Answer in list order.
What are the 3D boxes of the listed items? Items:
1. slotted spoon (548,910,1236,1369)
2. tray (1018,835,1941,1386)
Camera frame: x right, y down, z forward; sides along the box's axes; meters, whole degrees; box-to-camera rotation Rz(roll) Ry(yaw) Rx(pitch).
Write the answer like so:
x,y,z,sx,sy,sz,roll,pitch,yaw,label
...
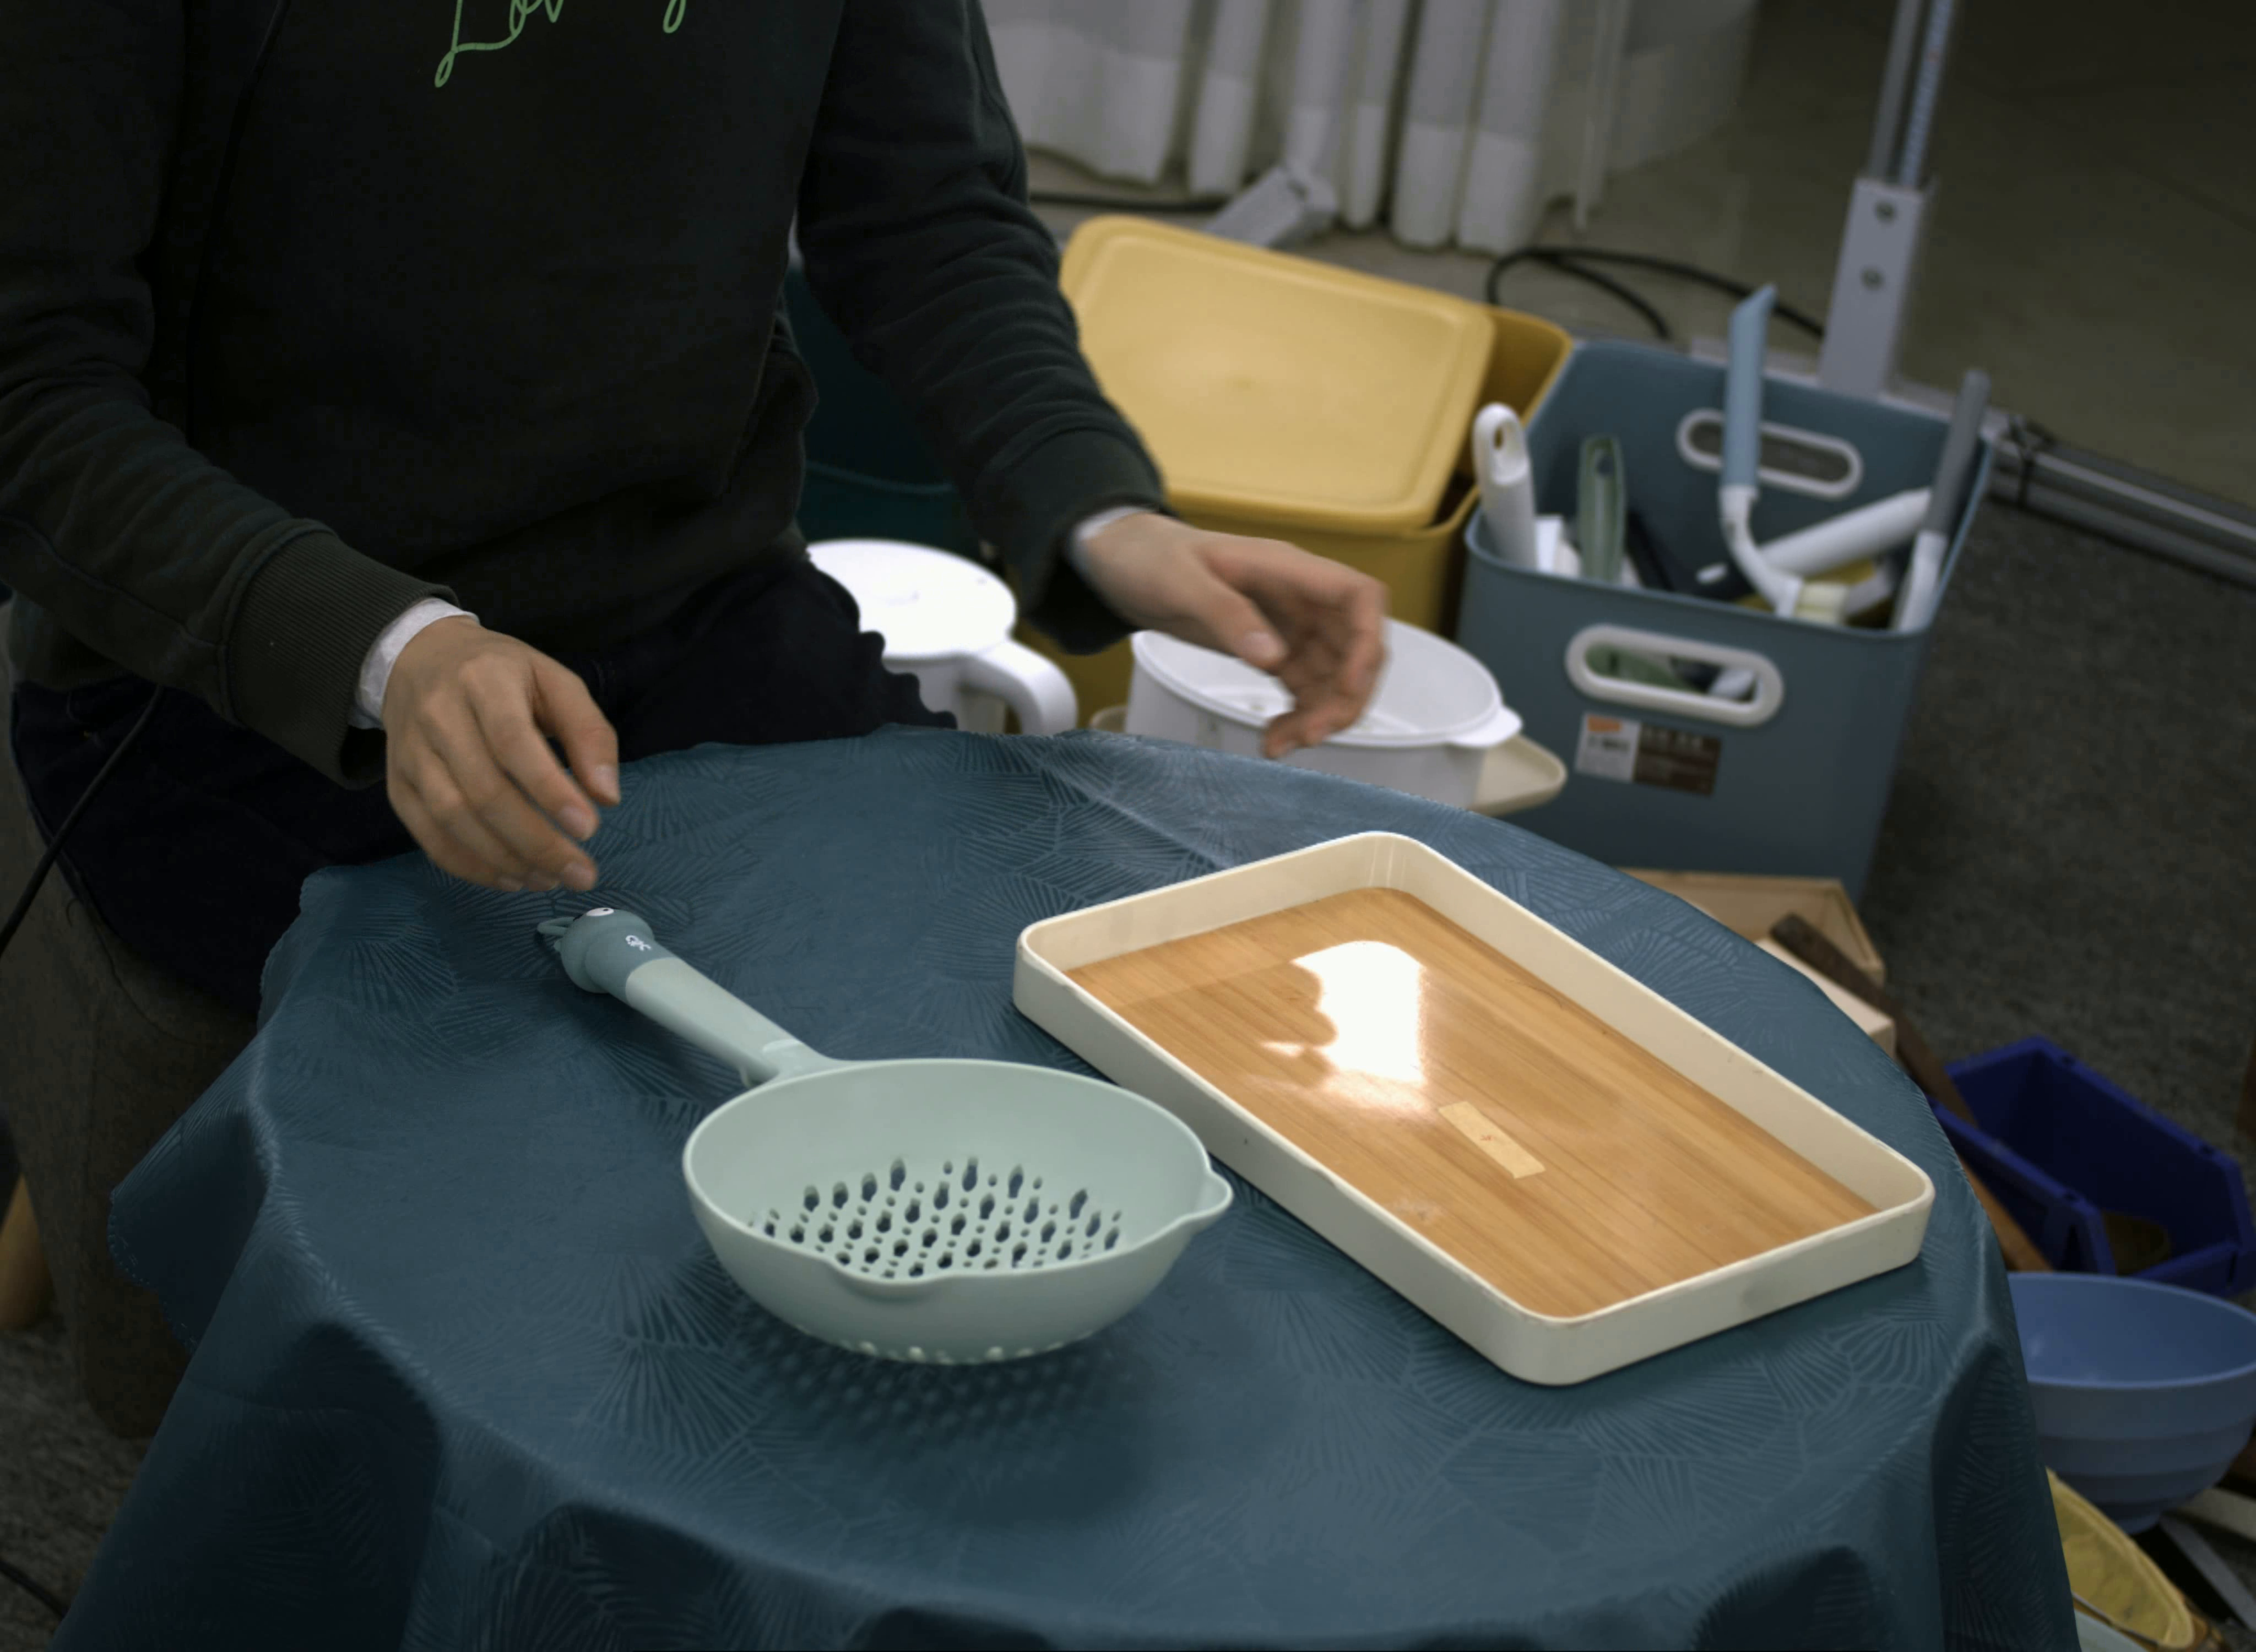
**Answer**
x,y,z,sx,sy,sz,roll,pitch,yaw,label
-0.109,0.088,1.774,0.168,0.075,0.362,-10,31,-30,slotted spoon
0.118,0.093,1.859,0.190,0.027,0.303,-14,34,-35,tray
